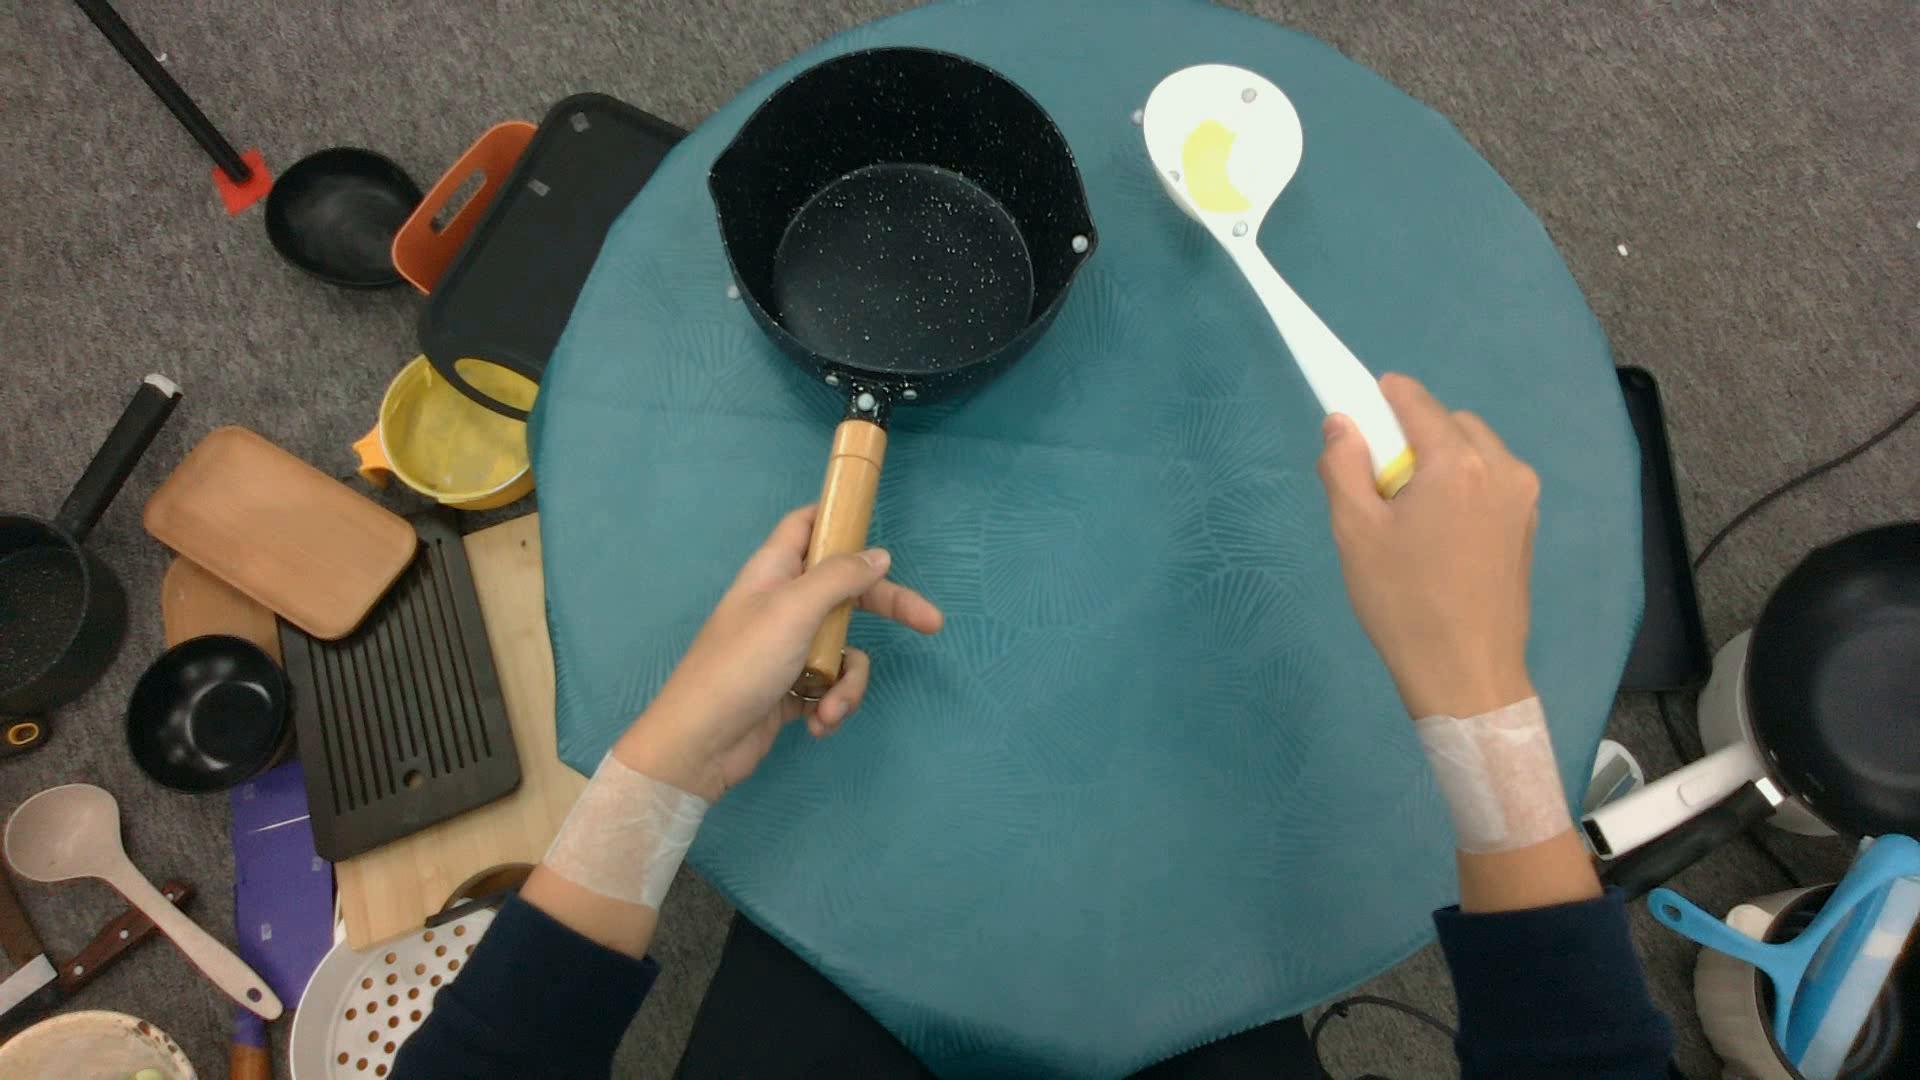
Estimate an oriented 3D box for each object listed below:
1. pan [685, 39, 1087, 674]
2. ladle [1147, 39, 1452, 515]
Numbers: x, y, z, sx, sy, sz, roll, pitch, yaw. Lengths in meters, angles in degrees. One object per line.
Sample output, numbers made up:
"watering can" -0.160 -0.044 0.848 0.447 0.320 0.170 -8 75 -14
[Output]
"pan" -0.048 -0.089 0.699 0.207 0.108 0.344 8 72 -1
"ladle" 0.162 -0.138 0.658 0.090 0.069 0.294 3 44 -22
